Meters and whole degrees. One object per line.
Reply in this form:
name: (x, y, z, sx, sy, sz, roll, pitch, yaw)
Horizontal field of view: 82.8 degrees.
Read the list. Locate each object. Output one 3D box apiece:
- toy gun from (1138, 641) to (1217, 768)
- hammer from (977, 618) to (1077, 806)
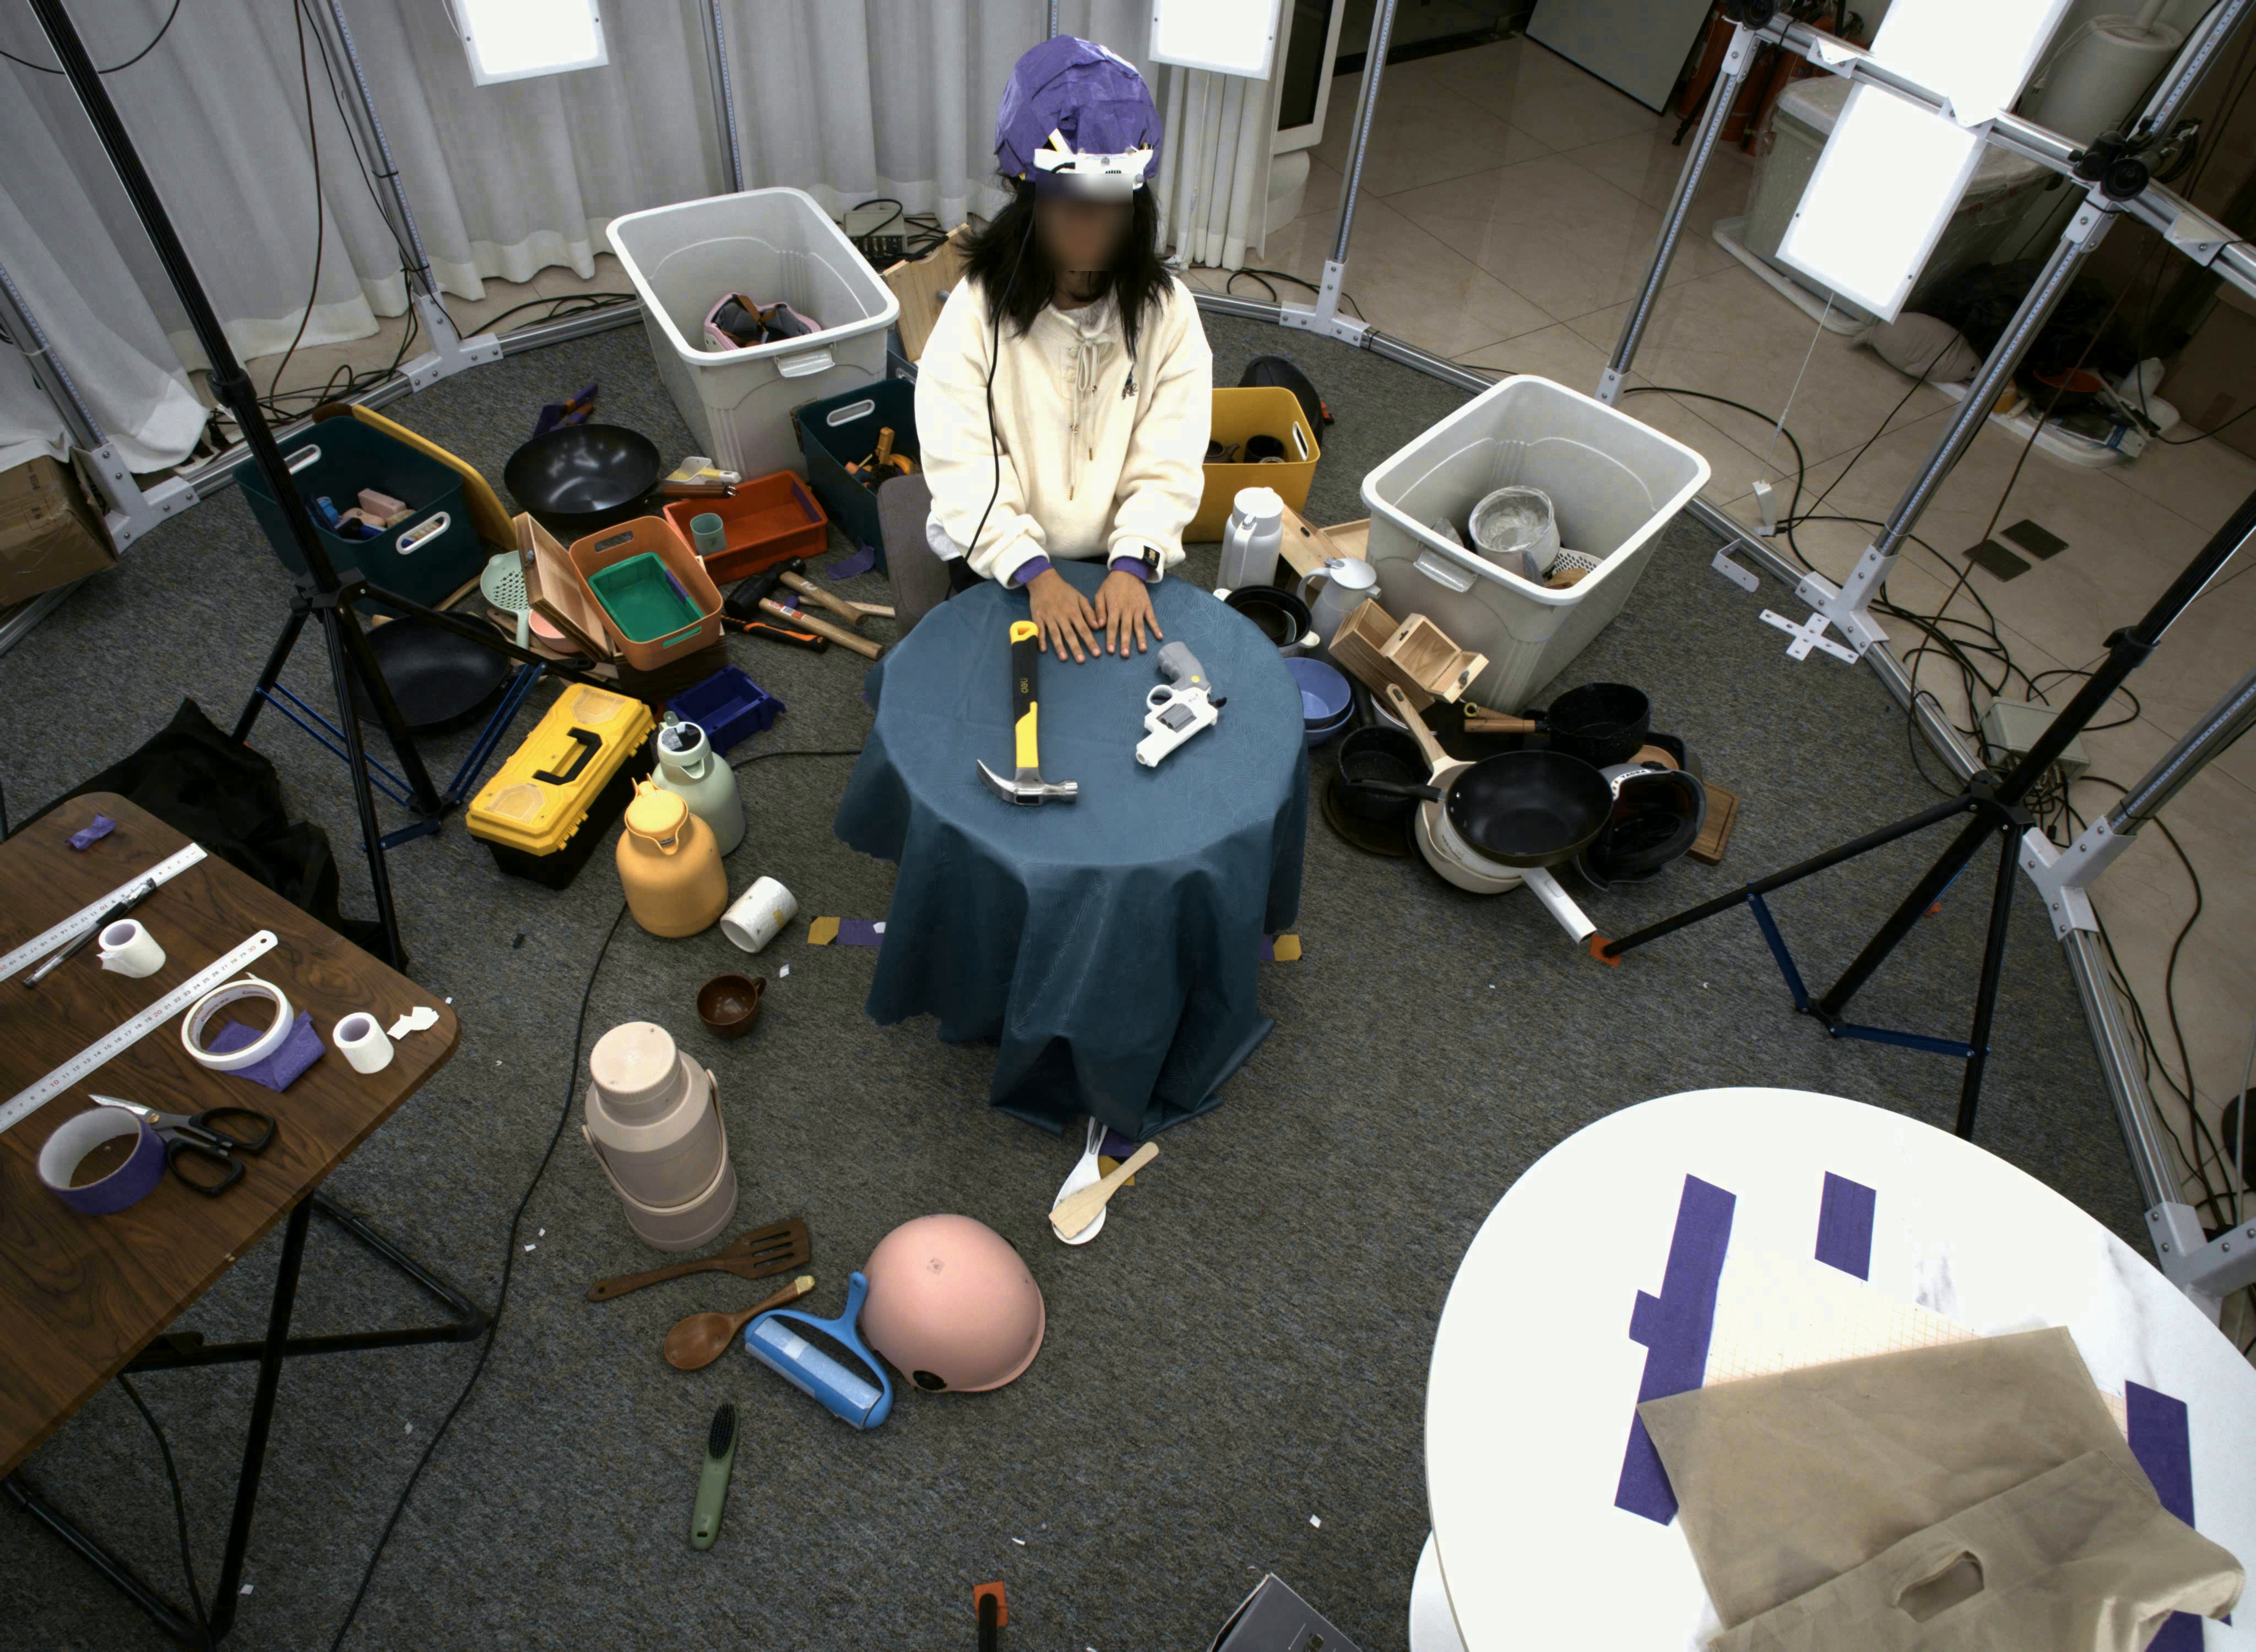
toy gun: (0.053, -0.173, 1.798, 0.143, 0.038, 0.211, 36, 56, 23)
hammer: (-0.141, -0.166, 1.781, 0.131, 0.031, 0.347, -2, 50, -3)
